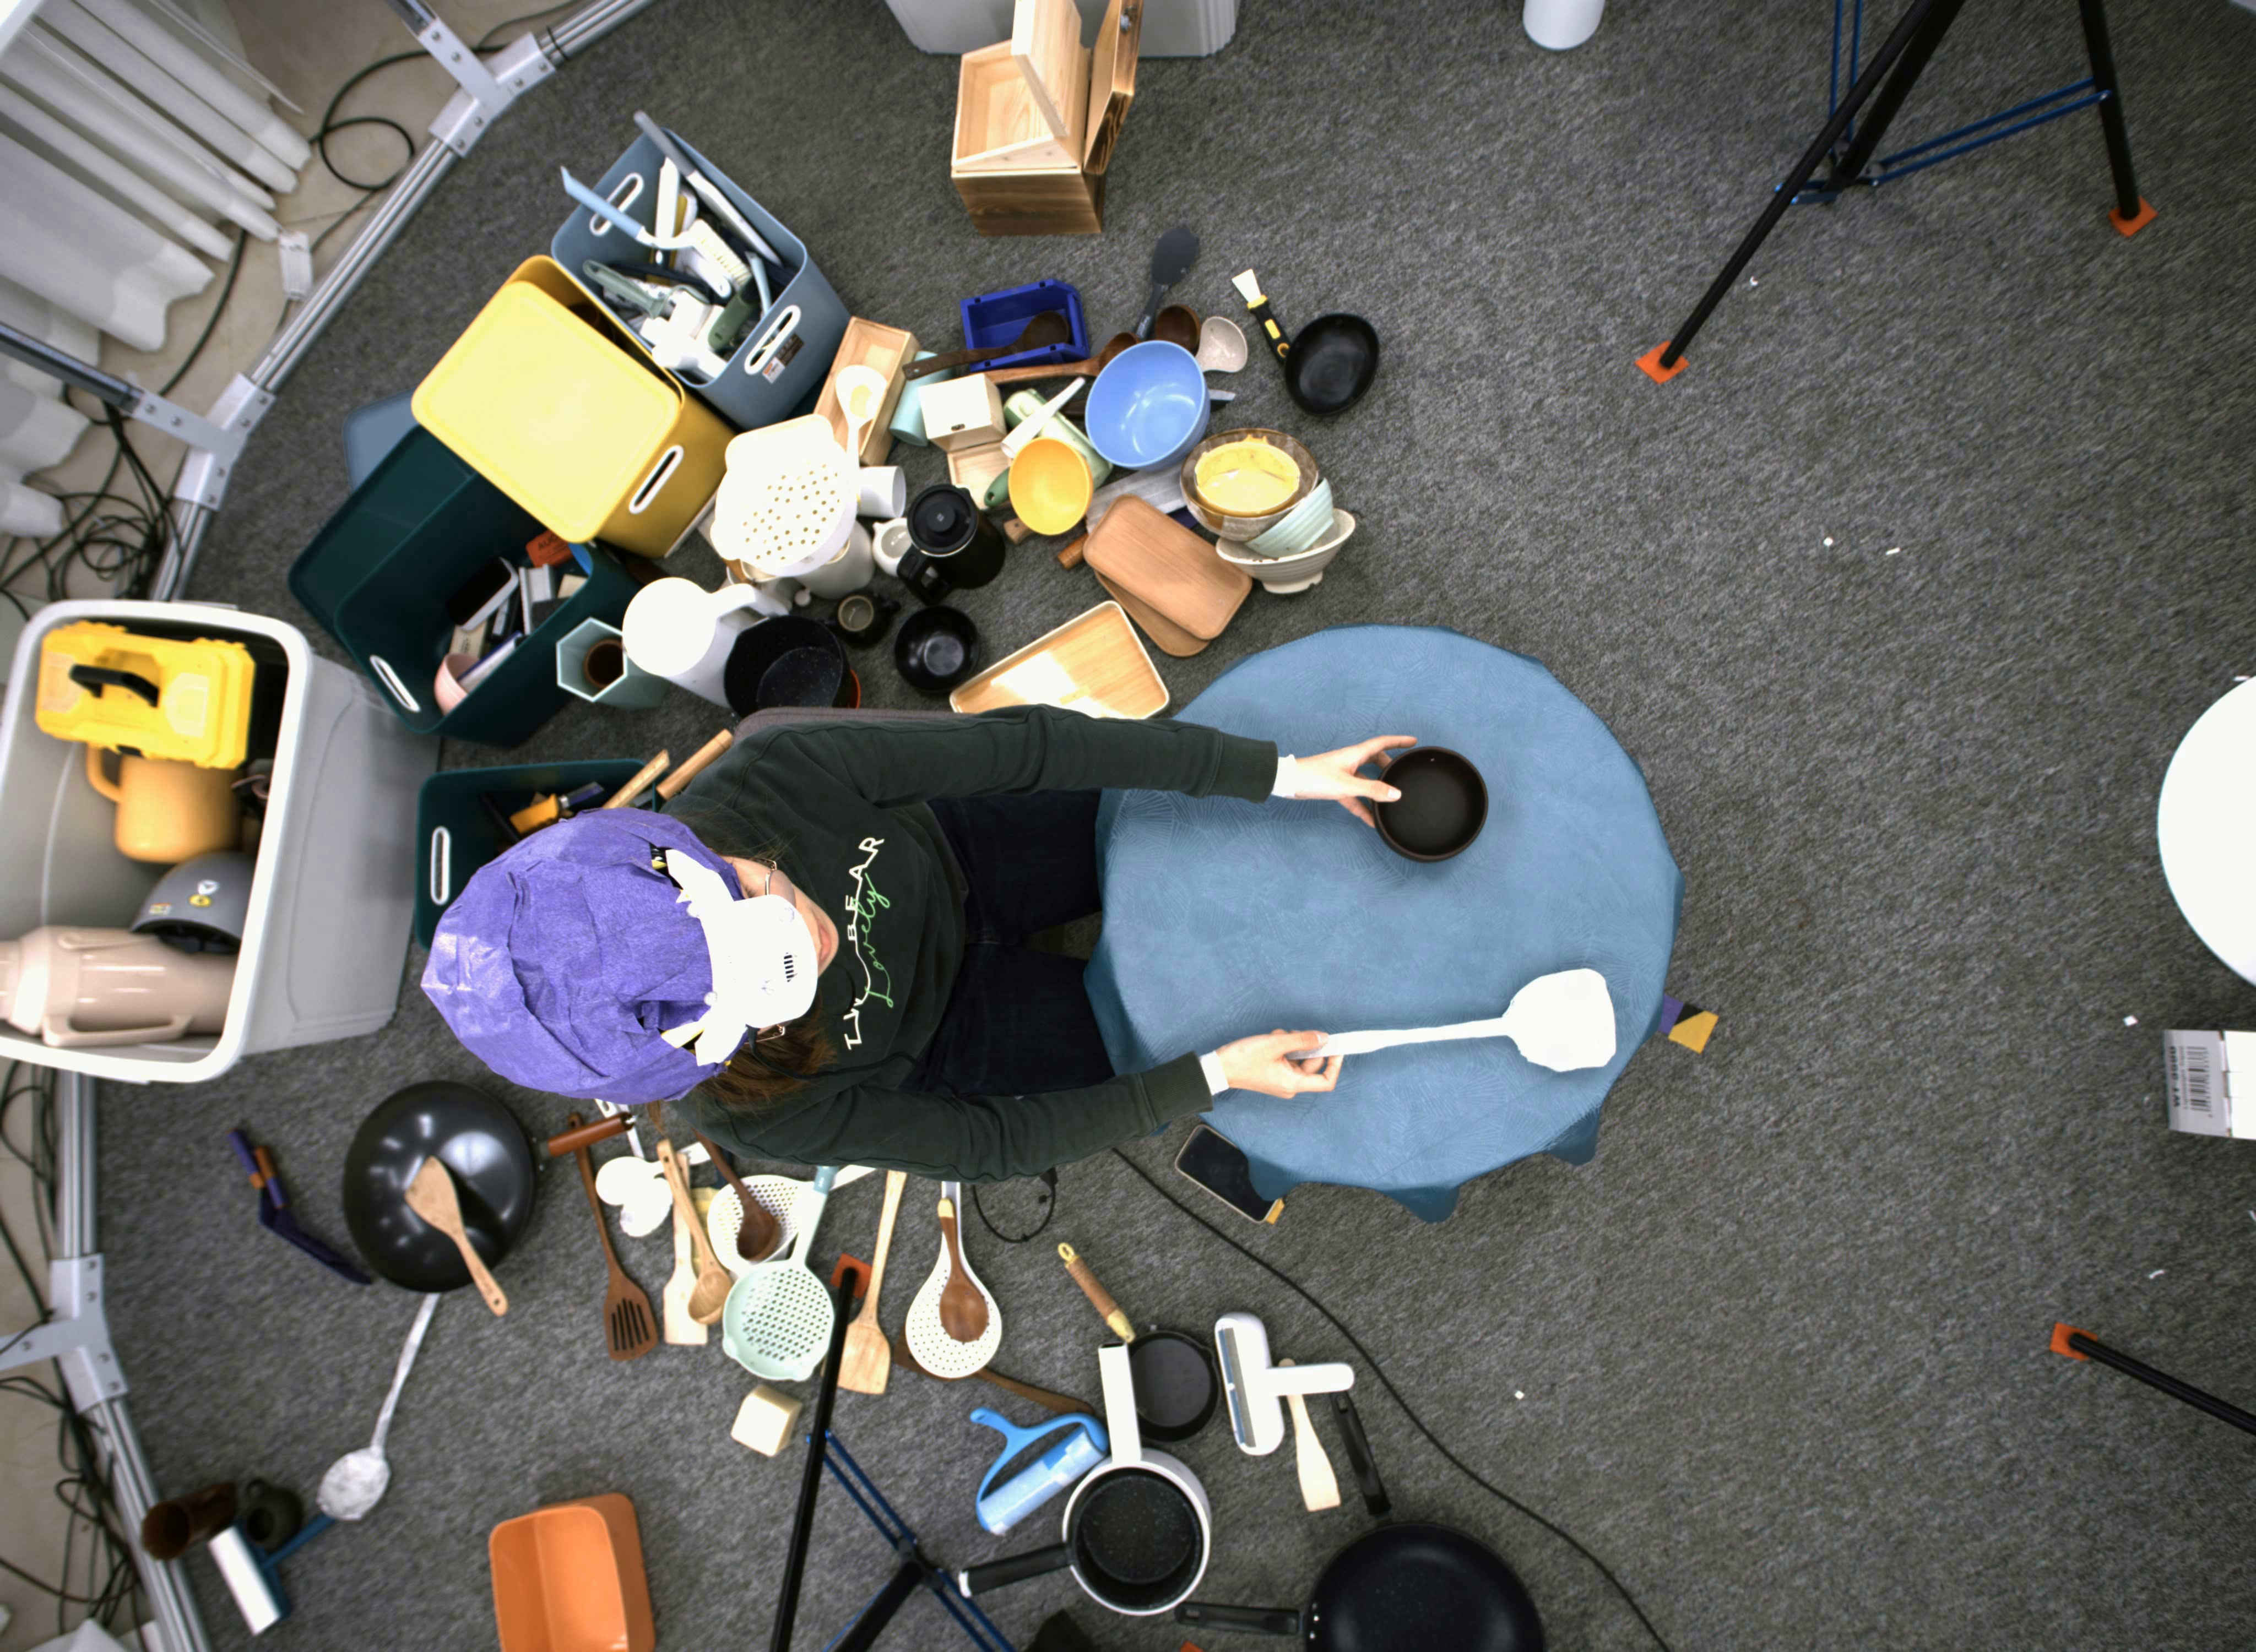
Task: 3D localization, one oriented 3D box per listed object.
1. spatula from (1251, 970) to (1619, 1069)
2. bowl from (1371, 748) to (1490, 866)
[{"bbox_3d":[0.306,0.207,1.396,0.366,0.045,0.098,-6,84,5],"label":"spatula"},{"bbox_3d":[0.307,-0.018,1.408,0.118,0.070,0.117,-1,83,7],"label":"bowl"}]
